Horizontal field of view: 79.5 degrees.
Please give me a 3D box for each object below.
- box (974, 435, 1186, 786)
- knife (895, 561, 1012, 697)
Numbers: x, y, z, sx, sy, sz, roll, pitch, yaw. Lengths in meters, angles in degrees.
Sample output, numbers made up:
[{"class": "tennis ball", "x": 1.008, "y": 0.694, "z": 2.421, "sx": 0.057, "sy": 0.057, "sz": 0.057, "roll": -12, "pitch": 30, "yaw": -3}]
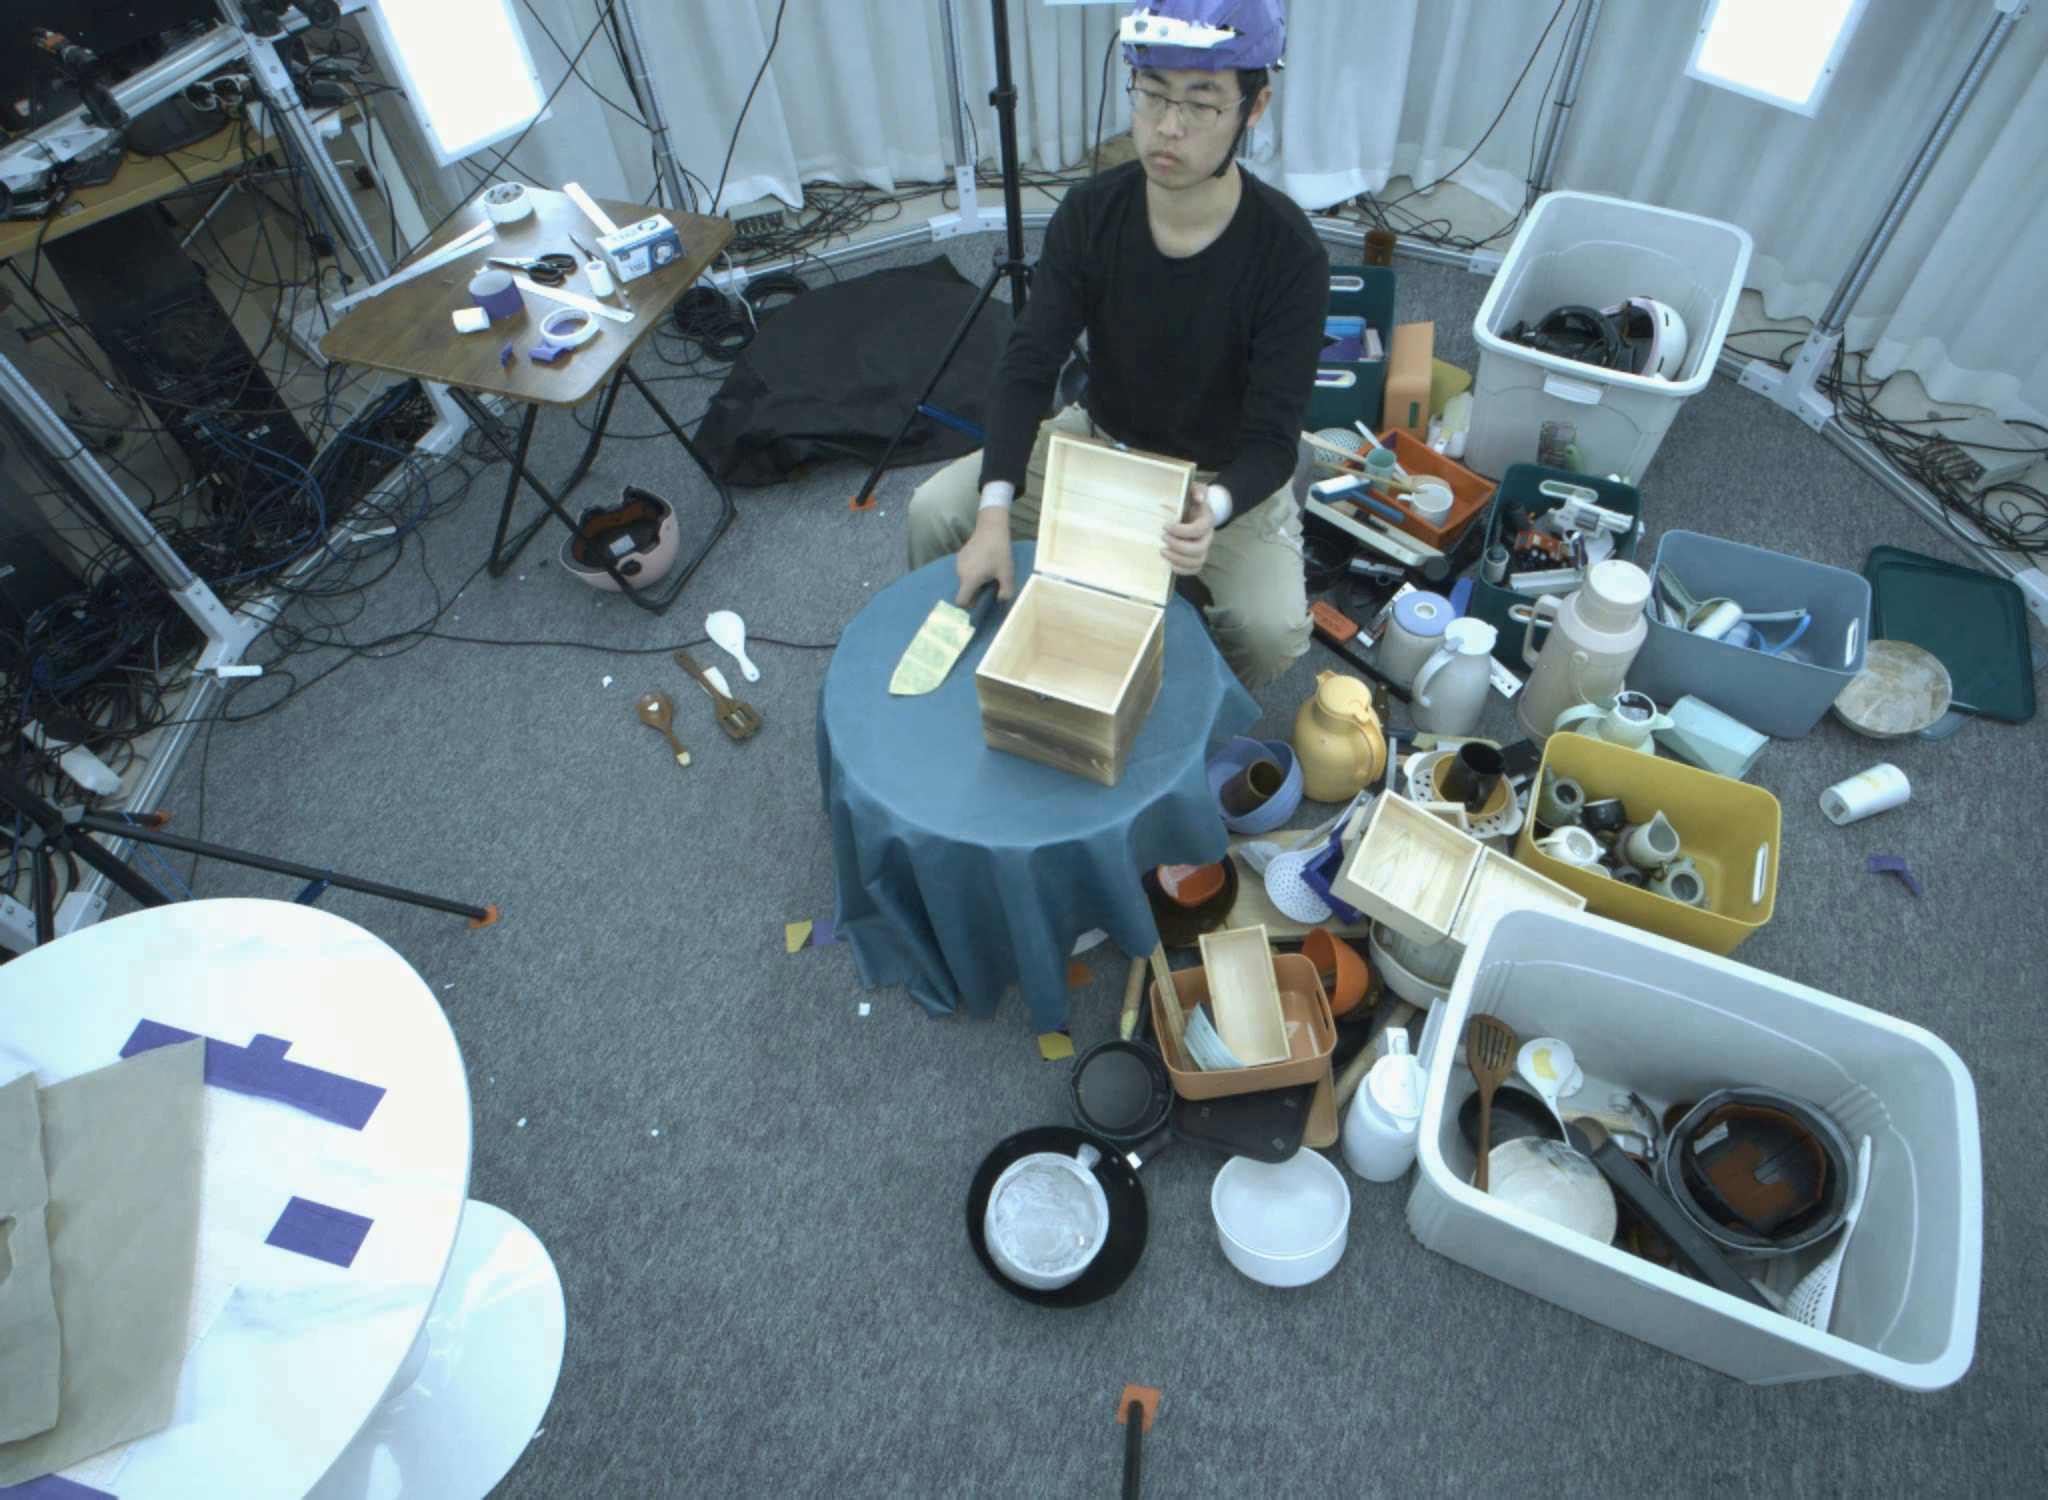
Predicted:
[{"class": "box", "x": 0.081, "y": -0.196, "z": 1.702, "sx": 0.206, "sy": 0.380, "sz": 0.322, "roll": 17, "pitch": 56, "yaw": 16}, {"class": "knife", "x": -0.108, "y": -0.193, "z": 1.896, "sx": 0.081, "sy": 0.027, "sz": 0.290, "roll": 35, "pitch": 68, "yaw": -1}]
